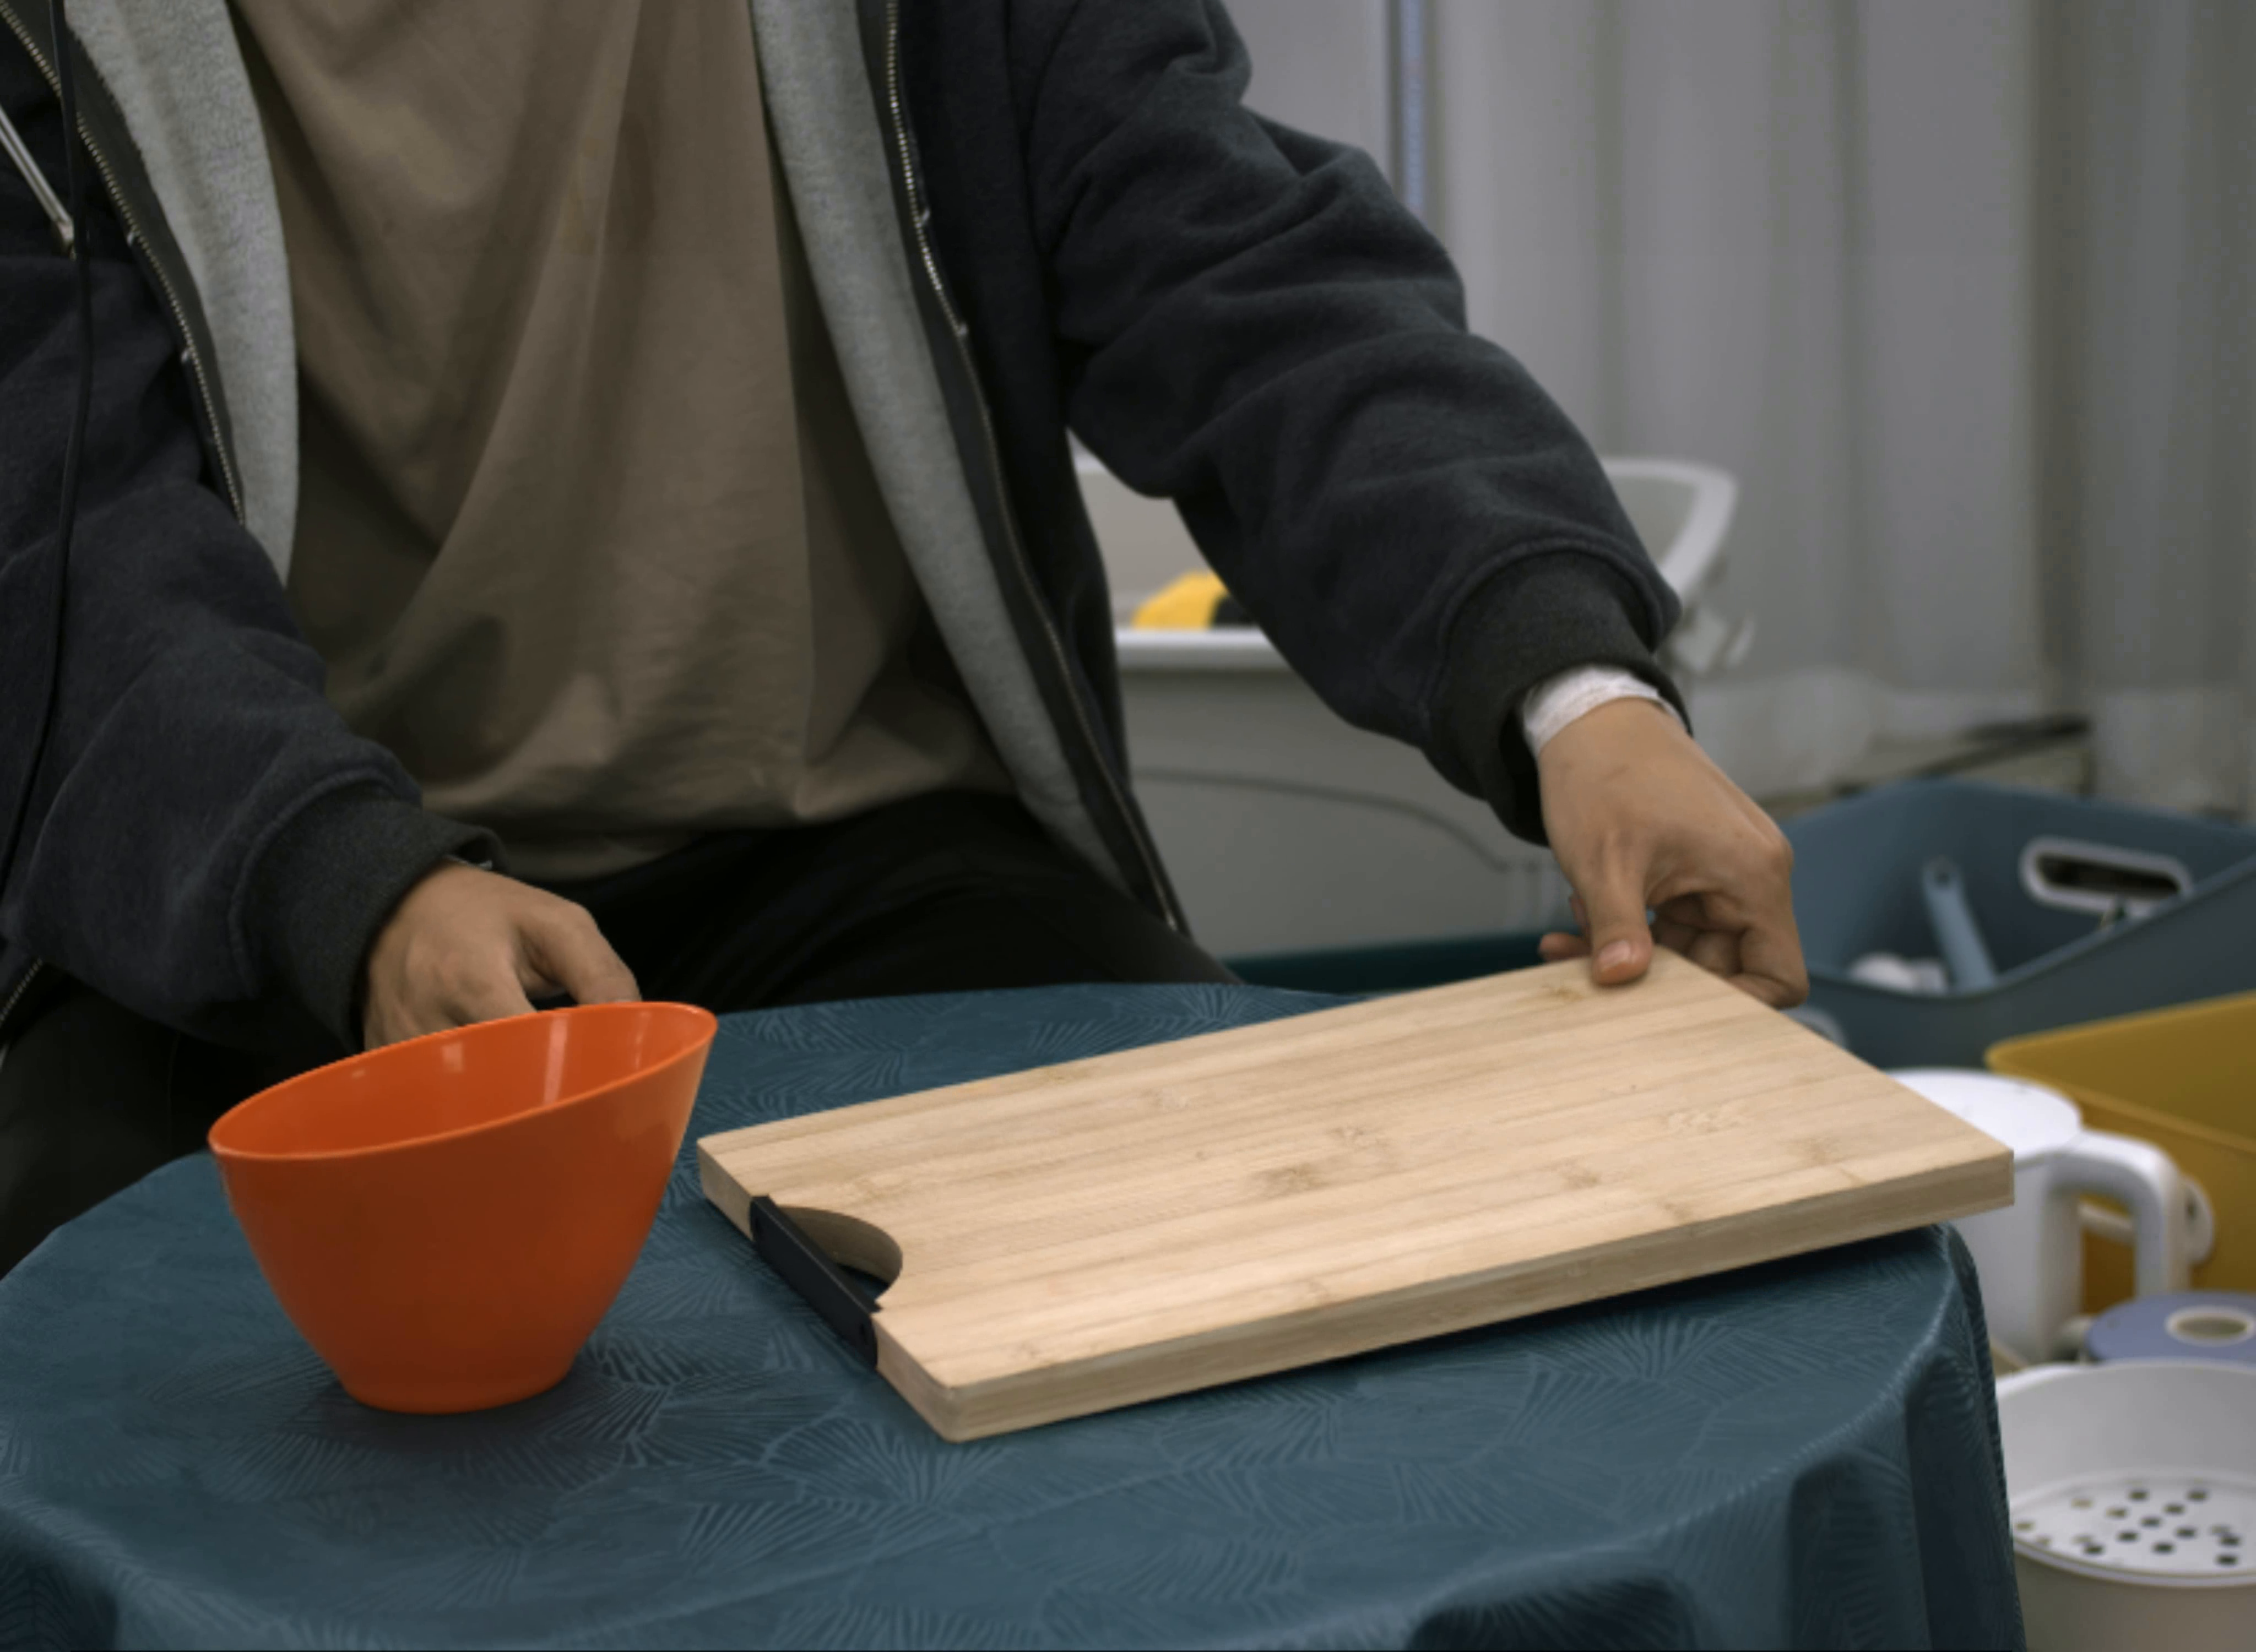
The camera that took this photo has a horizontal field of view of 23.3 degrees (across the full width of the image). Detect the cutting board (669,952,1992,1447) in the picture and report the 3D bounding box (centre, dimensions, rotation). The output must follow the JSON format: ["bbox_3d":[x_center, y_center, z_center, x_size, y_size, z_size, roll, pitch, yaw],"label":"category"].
[{"bbox_3d":[0.058,0.108,1.672,0.347,0.023,0.253,-10,17,-20],"label":"cutting board"}]

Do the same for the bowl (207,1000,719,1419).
[{"bbox_3d":[-0.187,0.111,1.569,0.147,0.104,0.149,-3,16,1],"label":"bowl"}]
